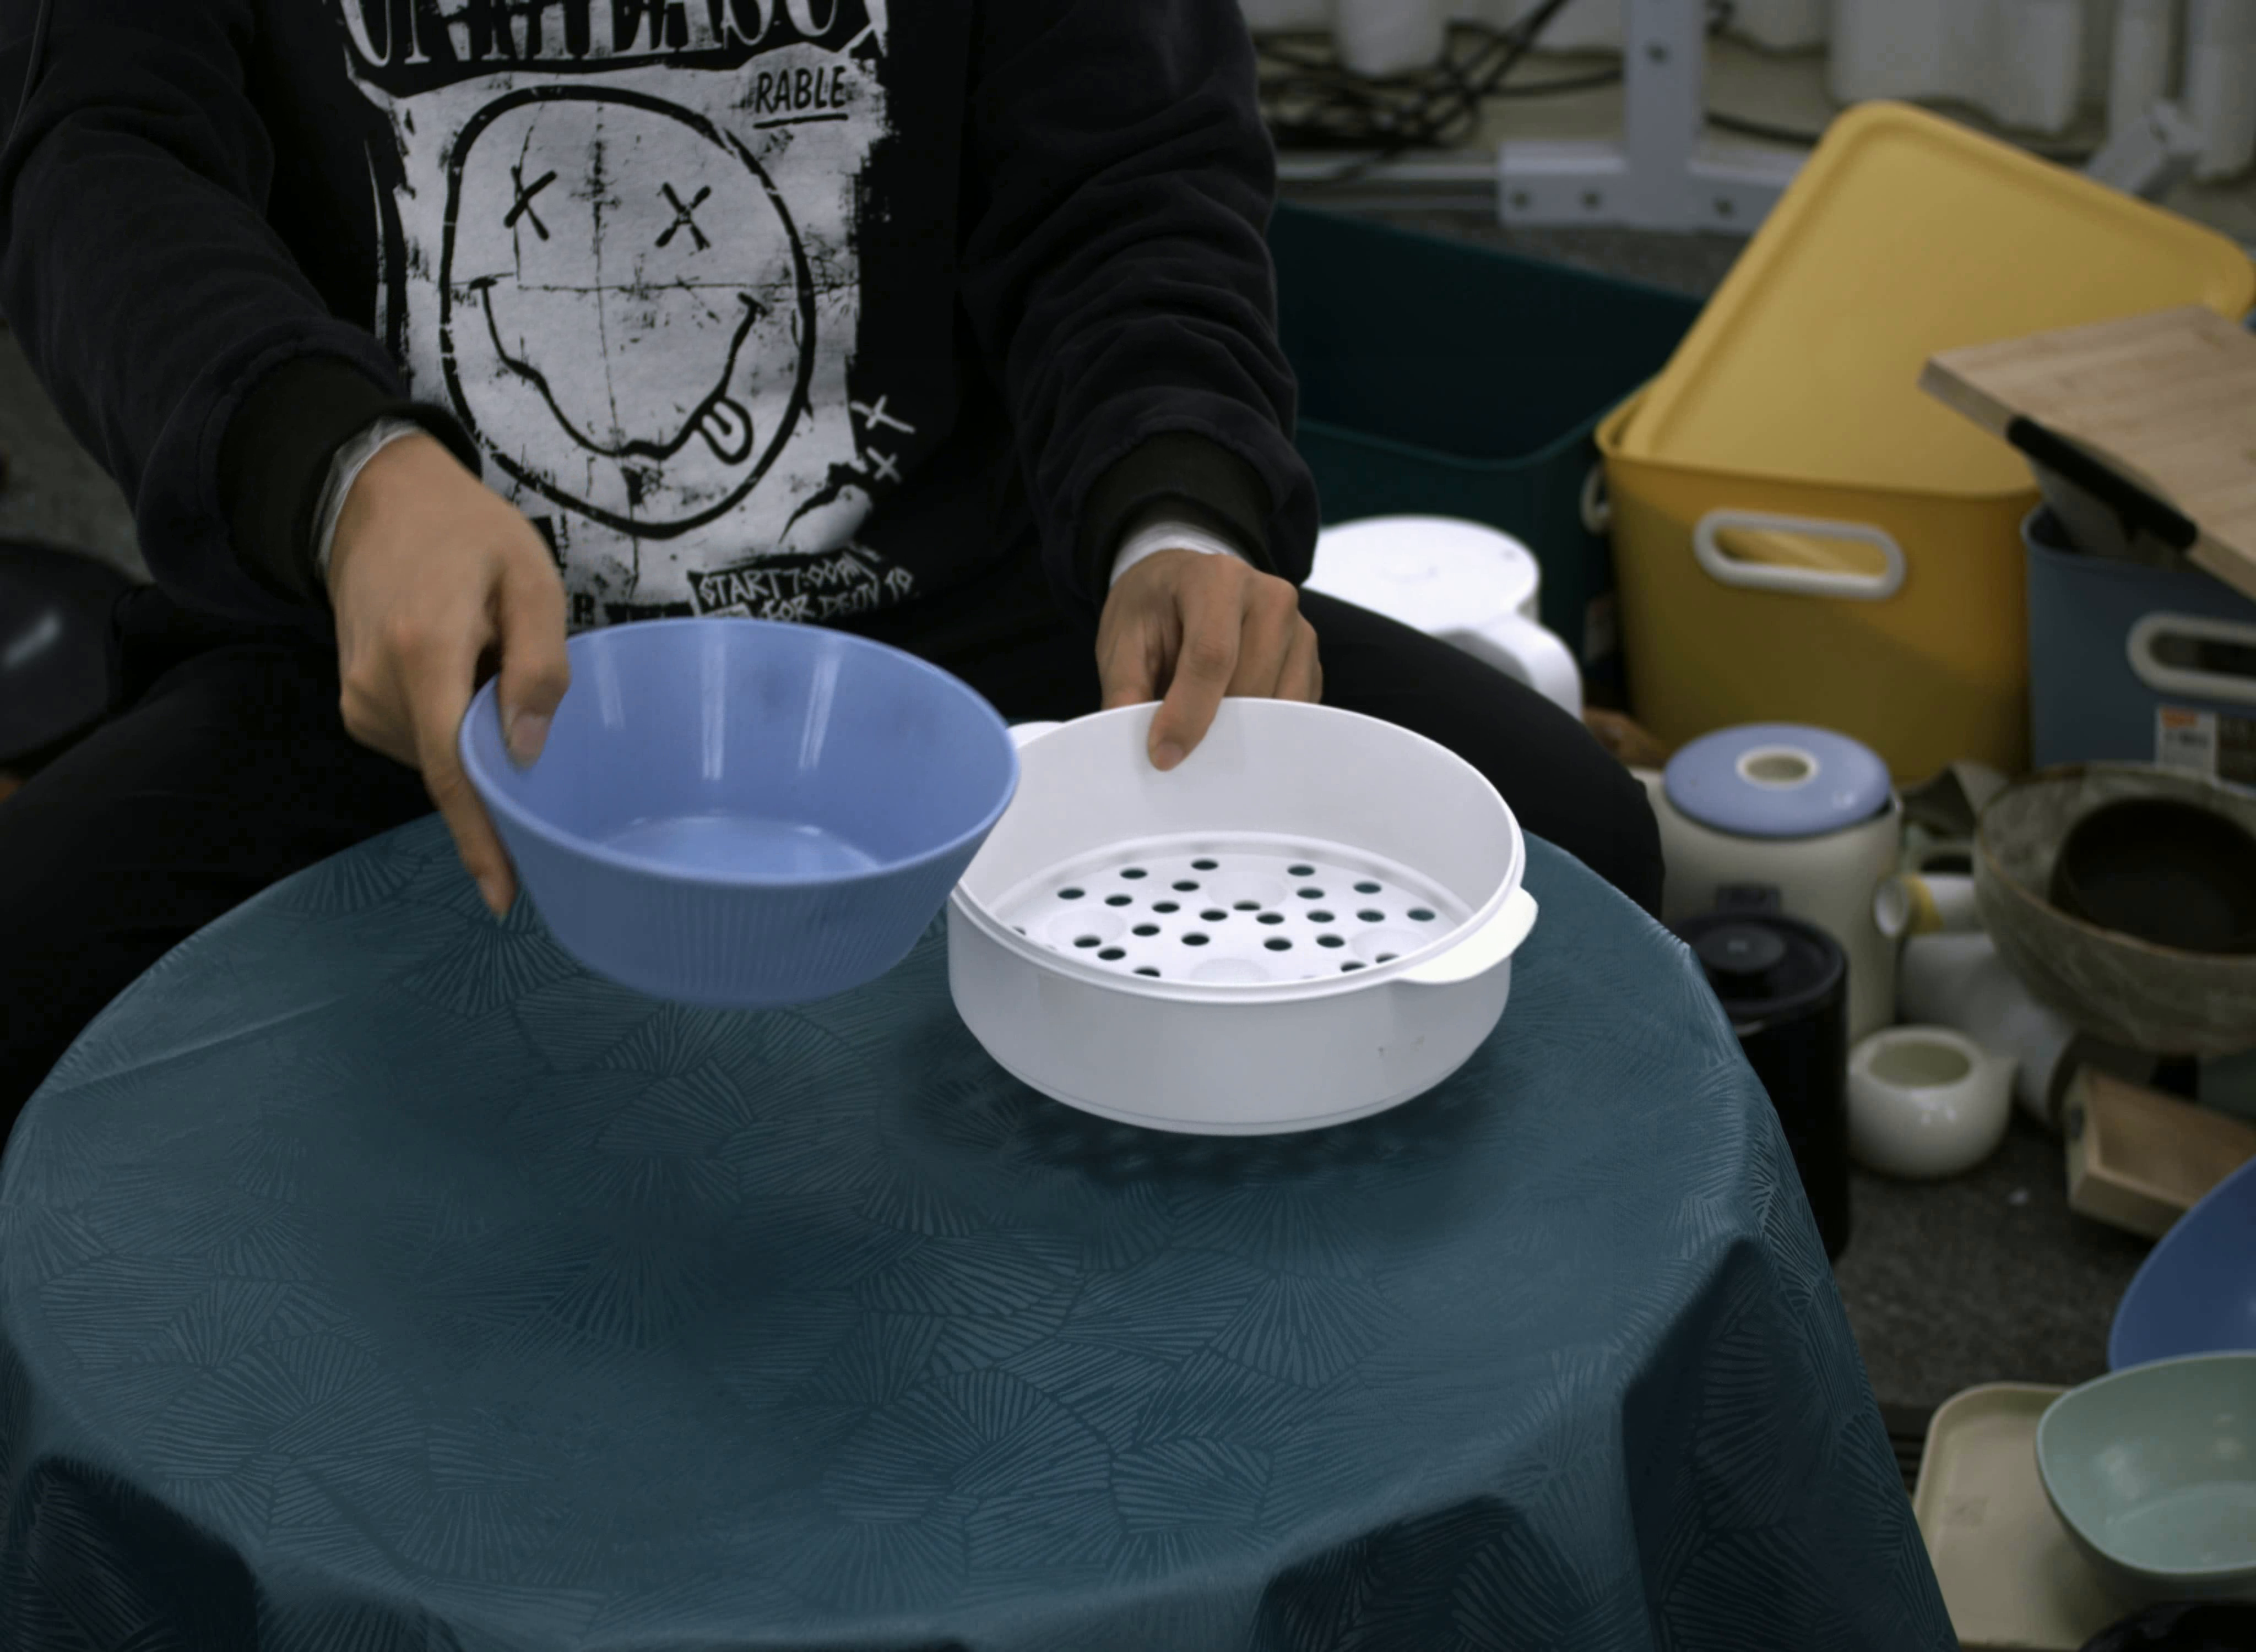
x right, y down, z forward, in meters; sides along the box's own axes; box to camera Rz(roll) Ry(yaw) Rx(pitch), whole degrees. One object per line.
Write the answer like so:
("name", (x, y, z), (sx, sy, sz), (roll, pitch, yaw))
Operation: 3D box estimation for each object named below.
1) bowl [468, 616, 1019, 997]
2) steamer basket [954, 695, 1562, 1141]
("bowl", (-0.125, -0.001, 1.792), (0.175, 0.069, 0.179), (6, 27, -3))
("steamer basket", (0.040, 0.032, 1.918), (0.230, 0.068, 0.205), (22, 36, 30))
